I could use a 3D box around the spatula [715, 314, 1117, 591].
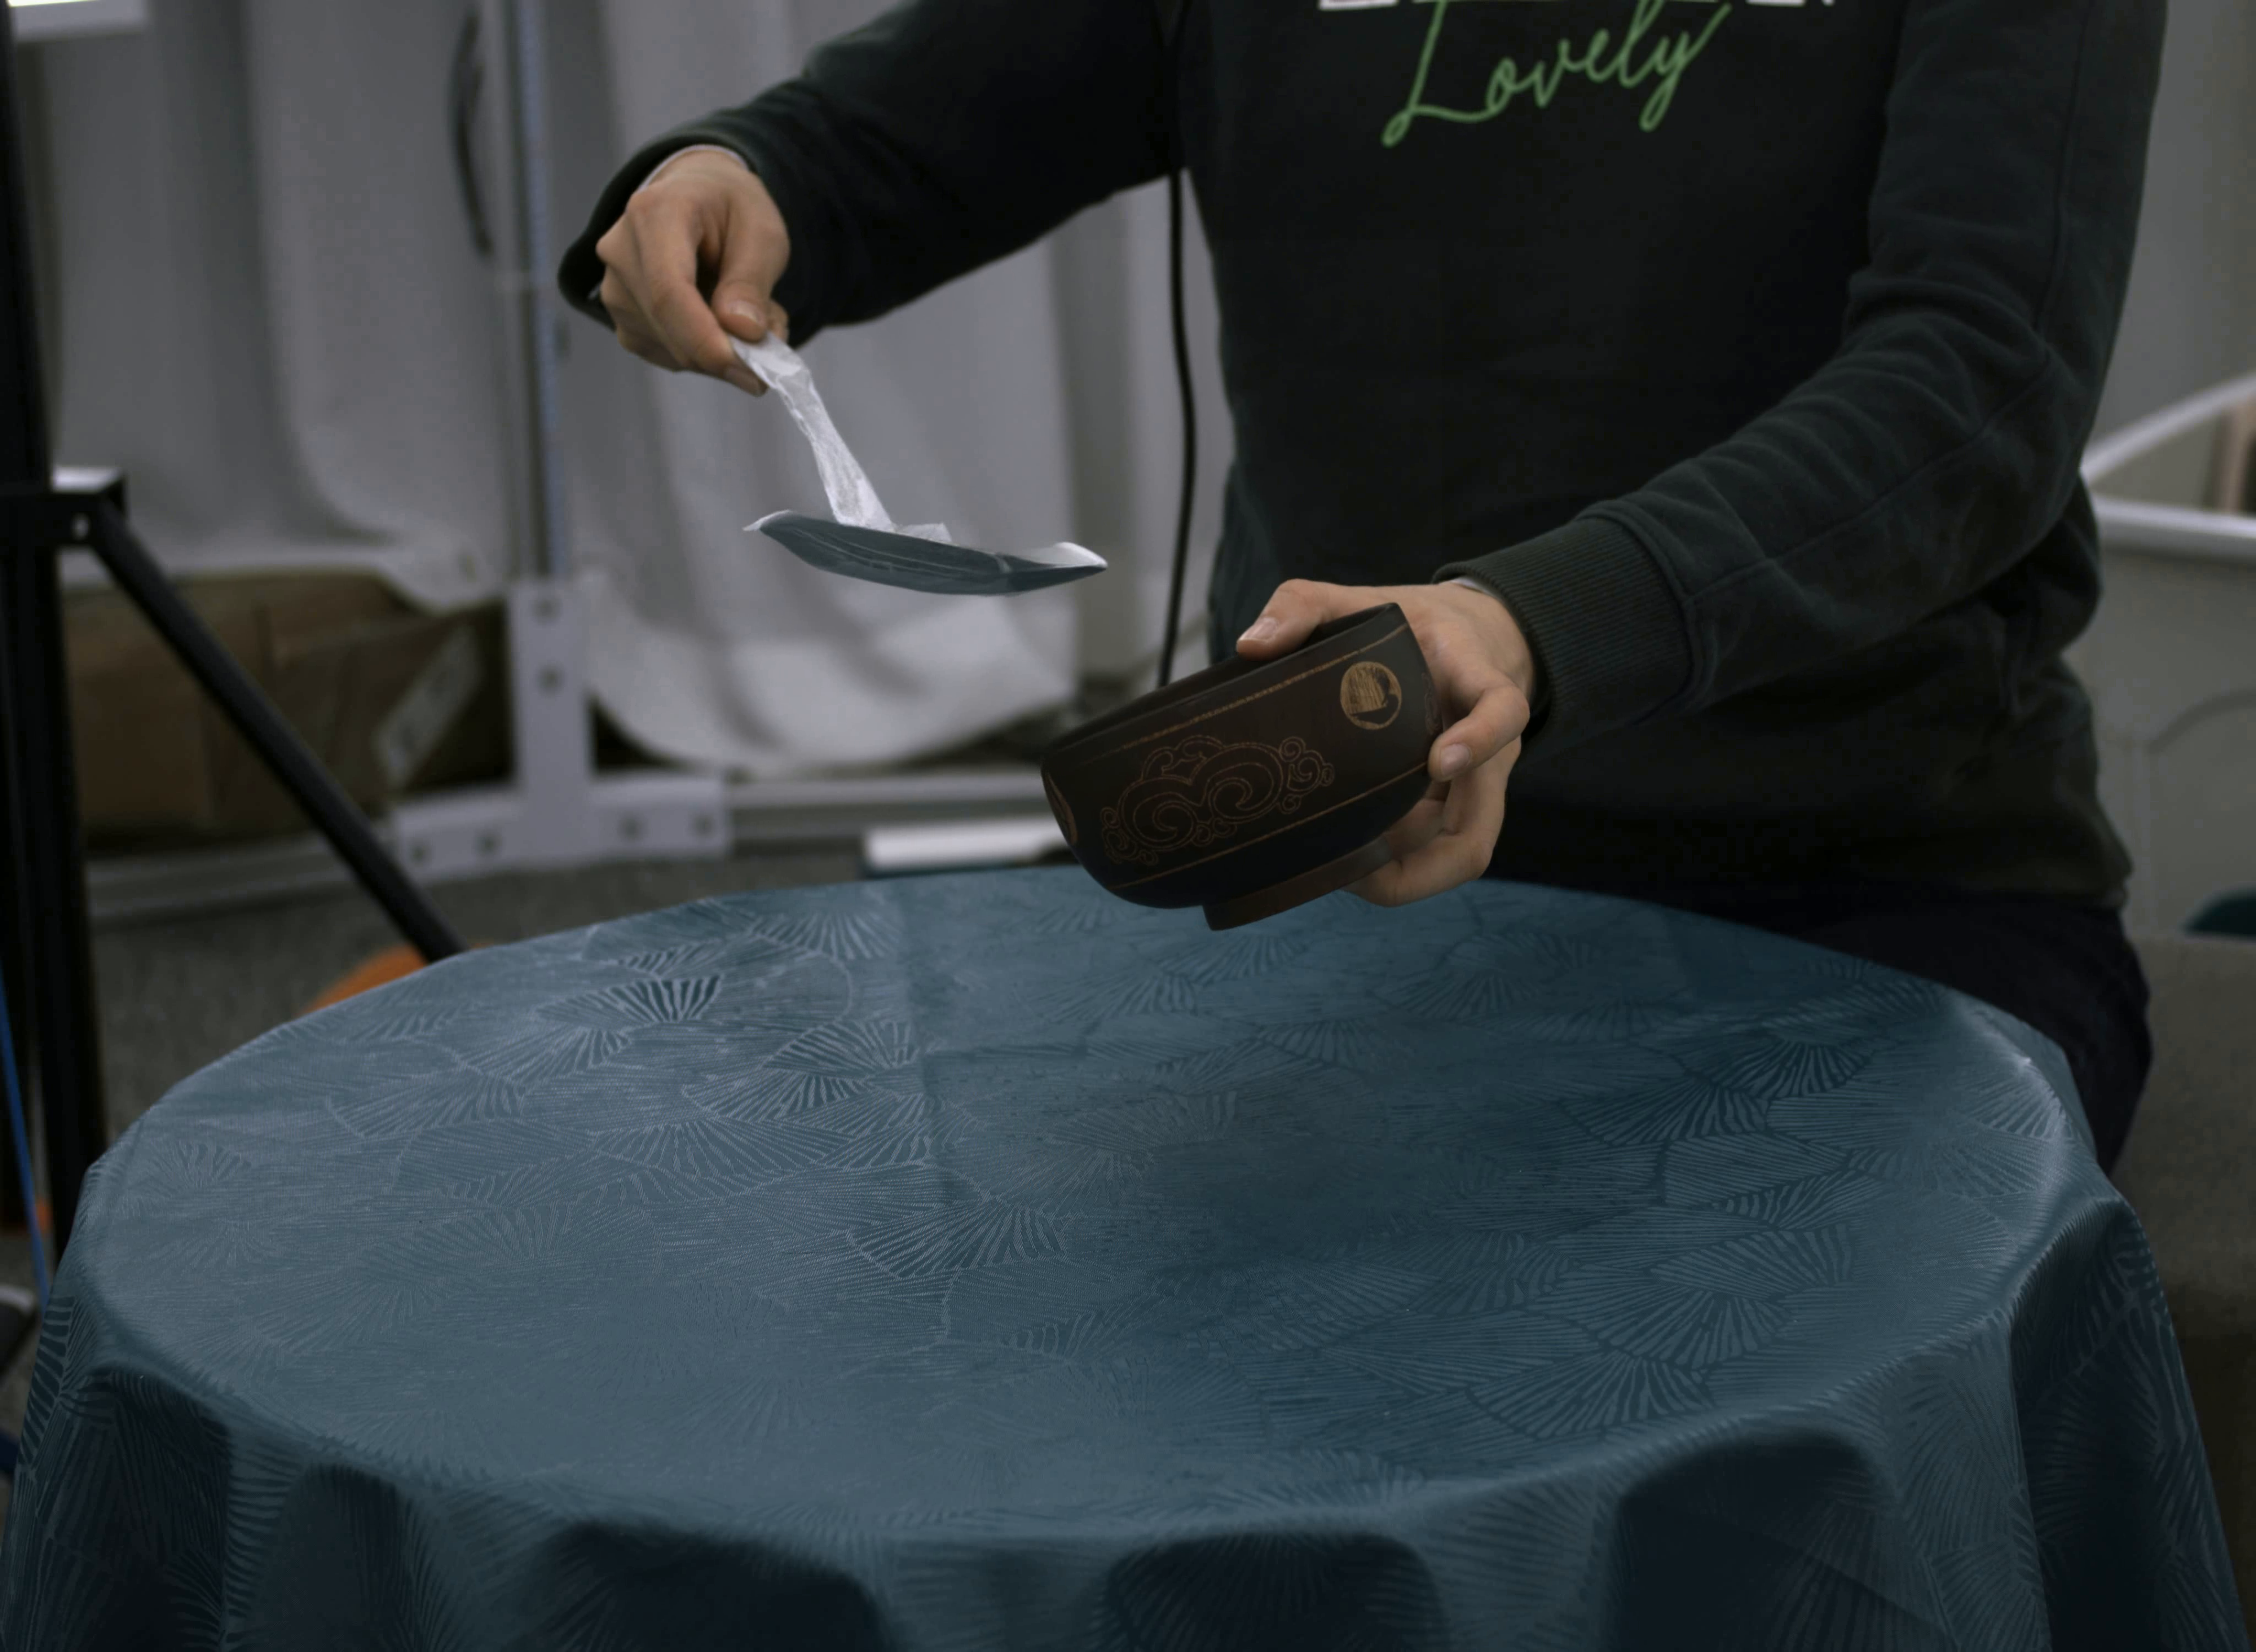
[{"bbox_3d":[-0.091,-0.128,1.679,0.097,0.045,0.370,8,19,-17],"label":"spatula"}]

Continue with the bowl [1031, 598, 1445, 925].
[{"bbox_3d":[0.037,-0.013,1.532,0.117,0.070,0.118,-20,3,-1],"label":"bowl"}]
